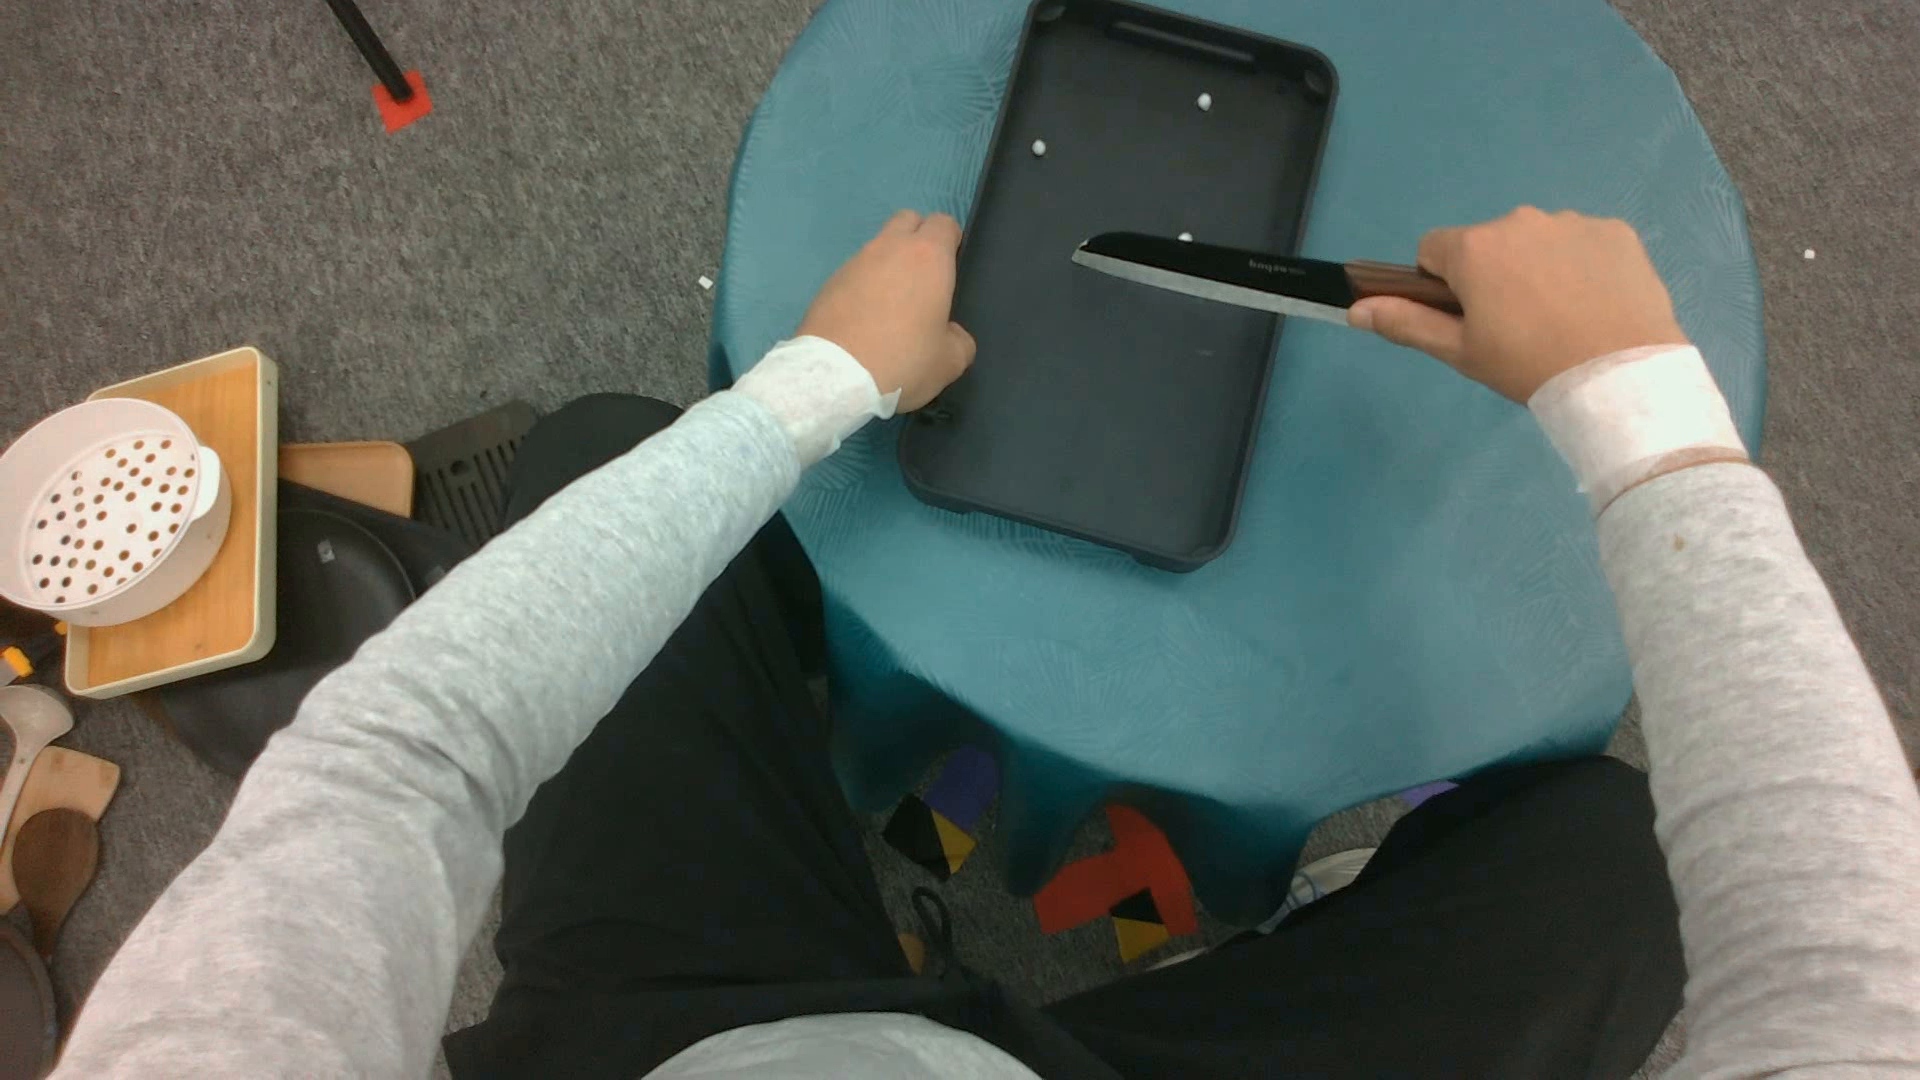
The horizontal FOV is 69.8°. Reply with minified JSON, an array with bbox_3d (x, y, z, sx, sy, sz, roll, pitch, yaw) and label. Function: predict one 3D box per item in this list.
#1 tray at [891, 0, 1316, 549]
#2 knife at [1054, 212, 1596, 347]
[{"bbox_3d":[0.083,-0.162,0.769,0.184,0.037,0.319,13,75,1],"label":"tray"},{"bbox_3d":[0.171,-0.135,0.703,0.289,0.050,0.020,16,61,31],"label":"knife"}]
